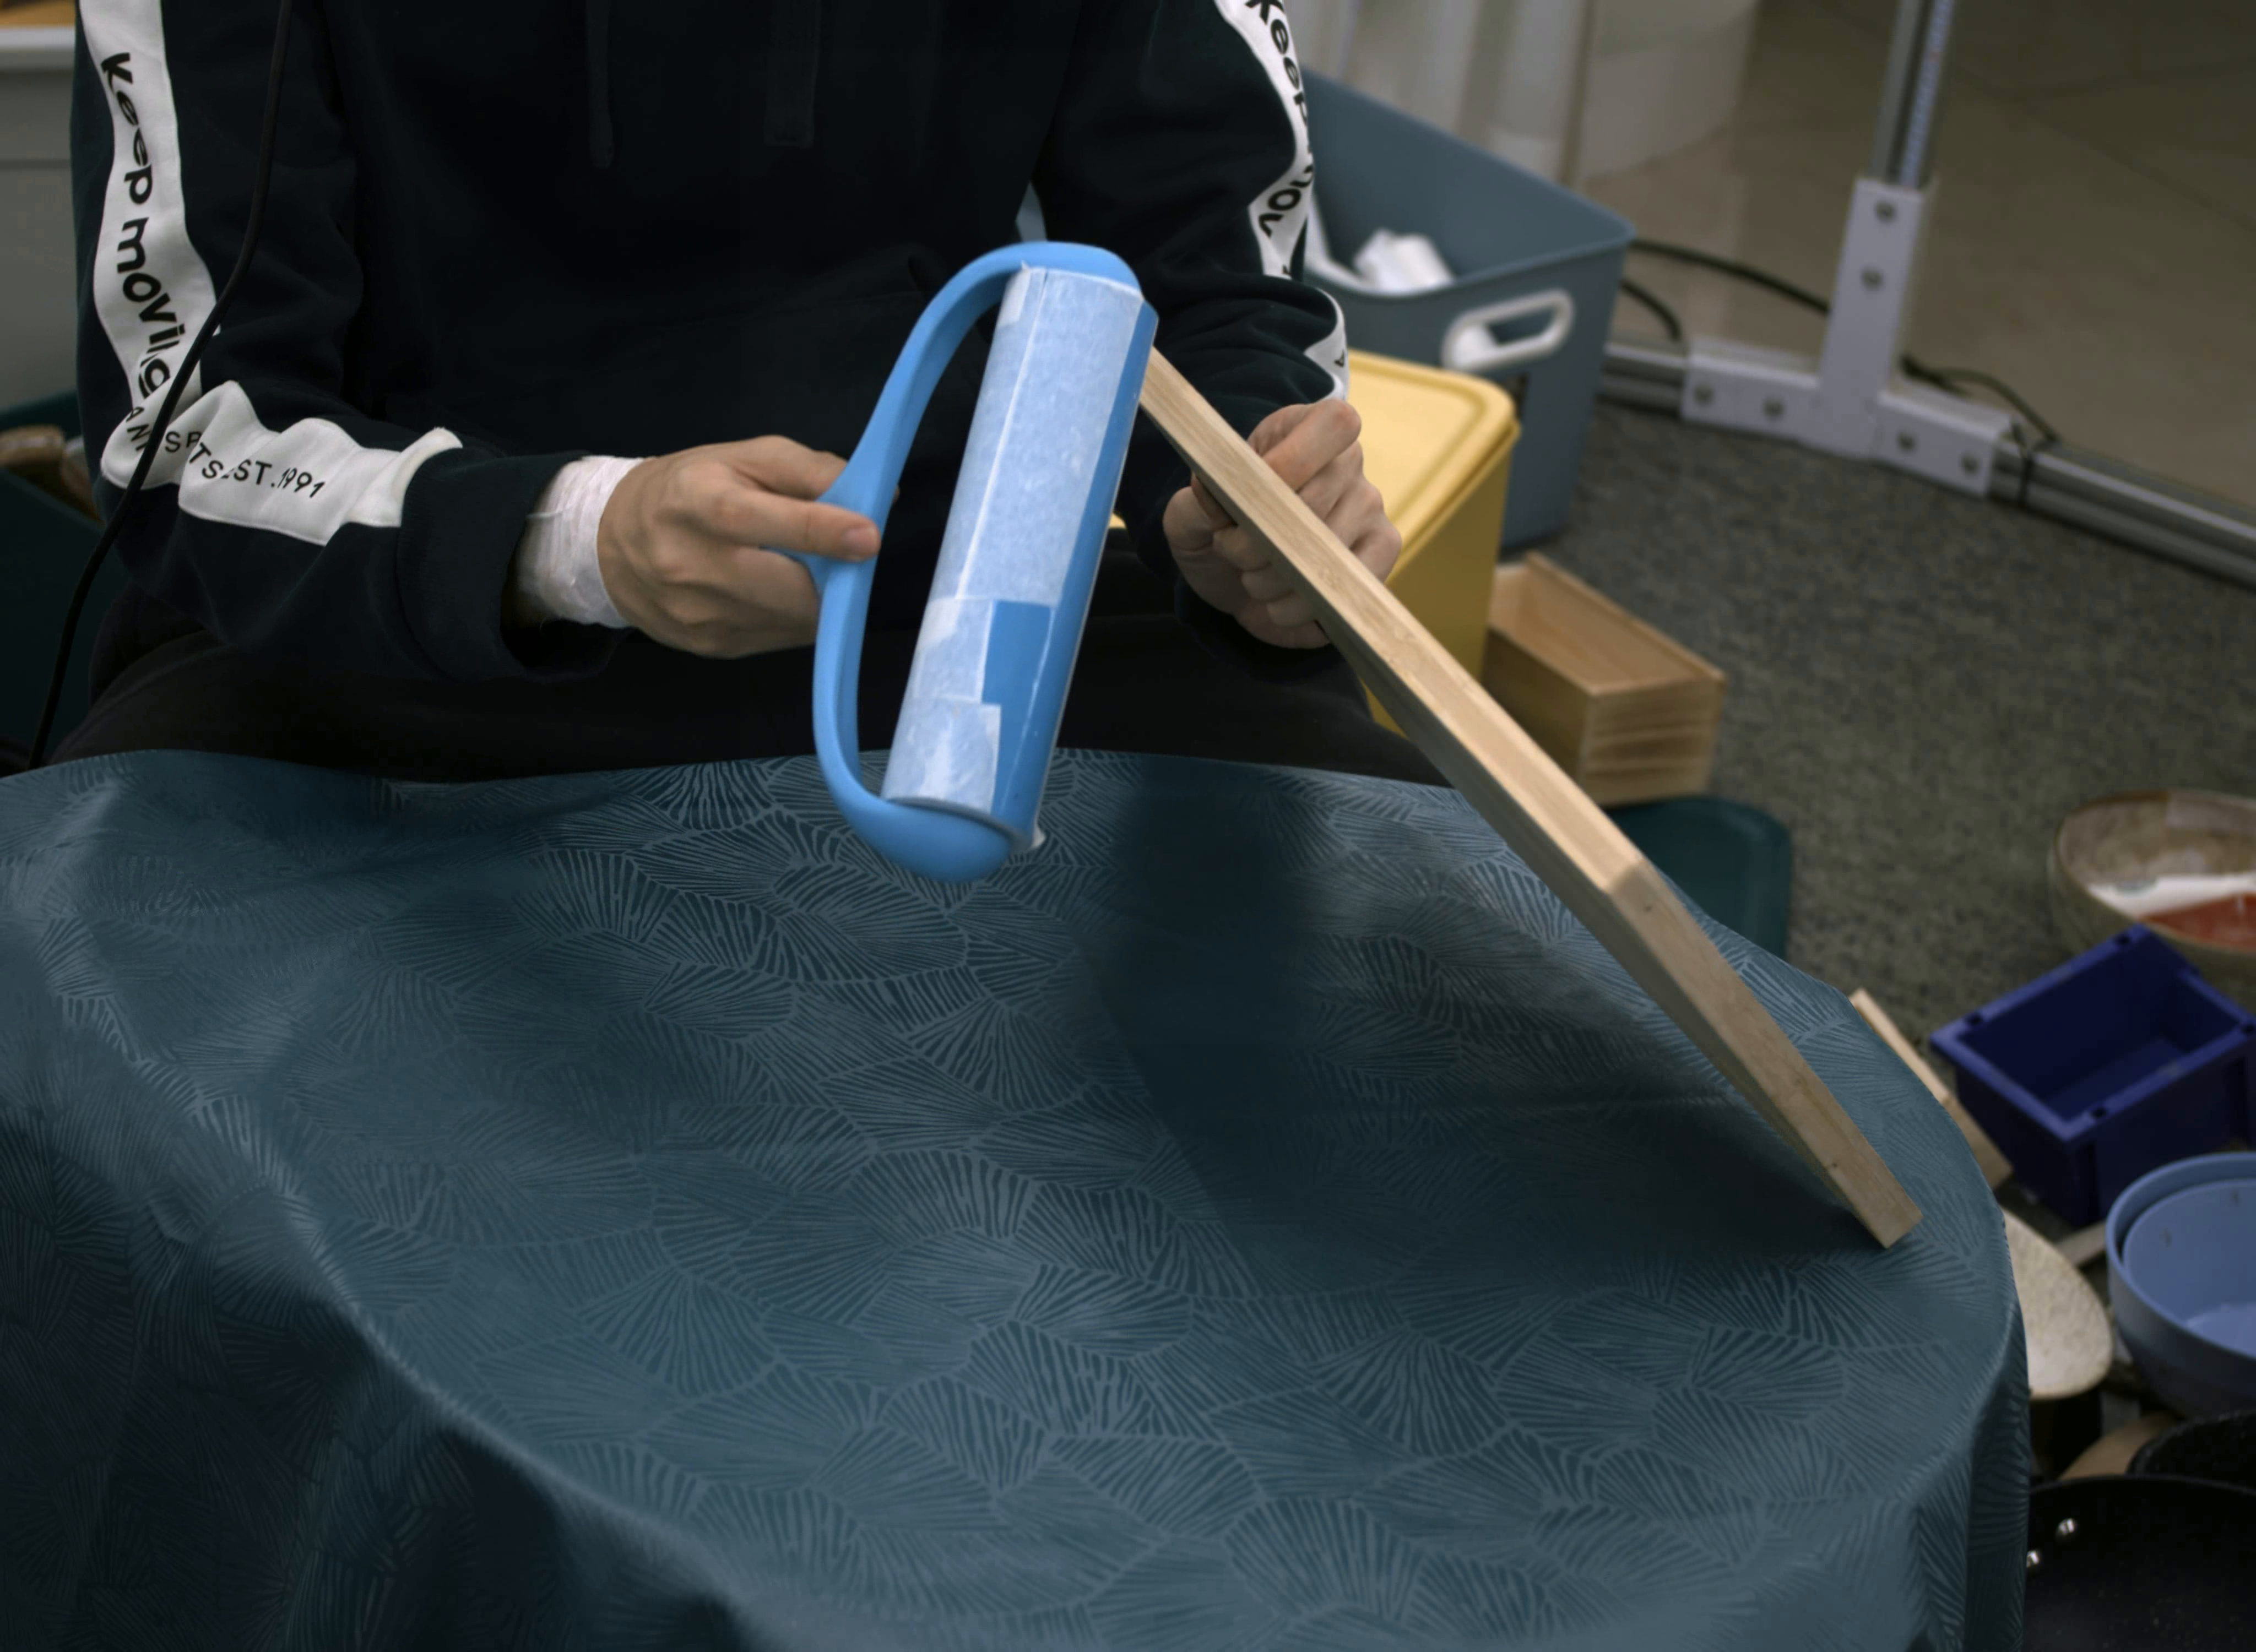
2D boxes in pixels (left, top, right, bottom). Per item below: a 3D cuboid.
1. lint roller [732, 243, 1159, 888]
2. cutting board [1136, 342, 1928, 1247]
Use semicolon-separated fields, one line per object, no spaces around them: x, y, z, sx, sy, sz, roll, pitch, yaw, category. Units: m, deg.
-0.084;-0.087;1.829;0.181;0.230;0.067;-3;-21;38;lint roller
0.131;-0.015;1.858;0.023;0.248;0.352;-41;45;1;cutting board
